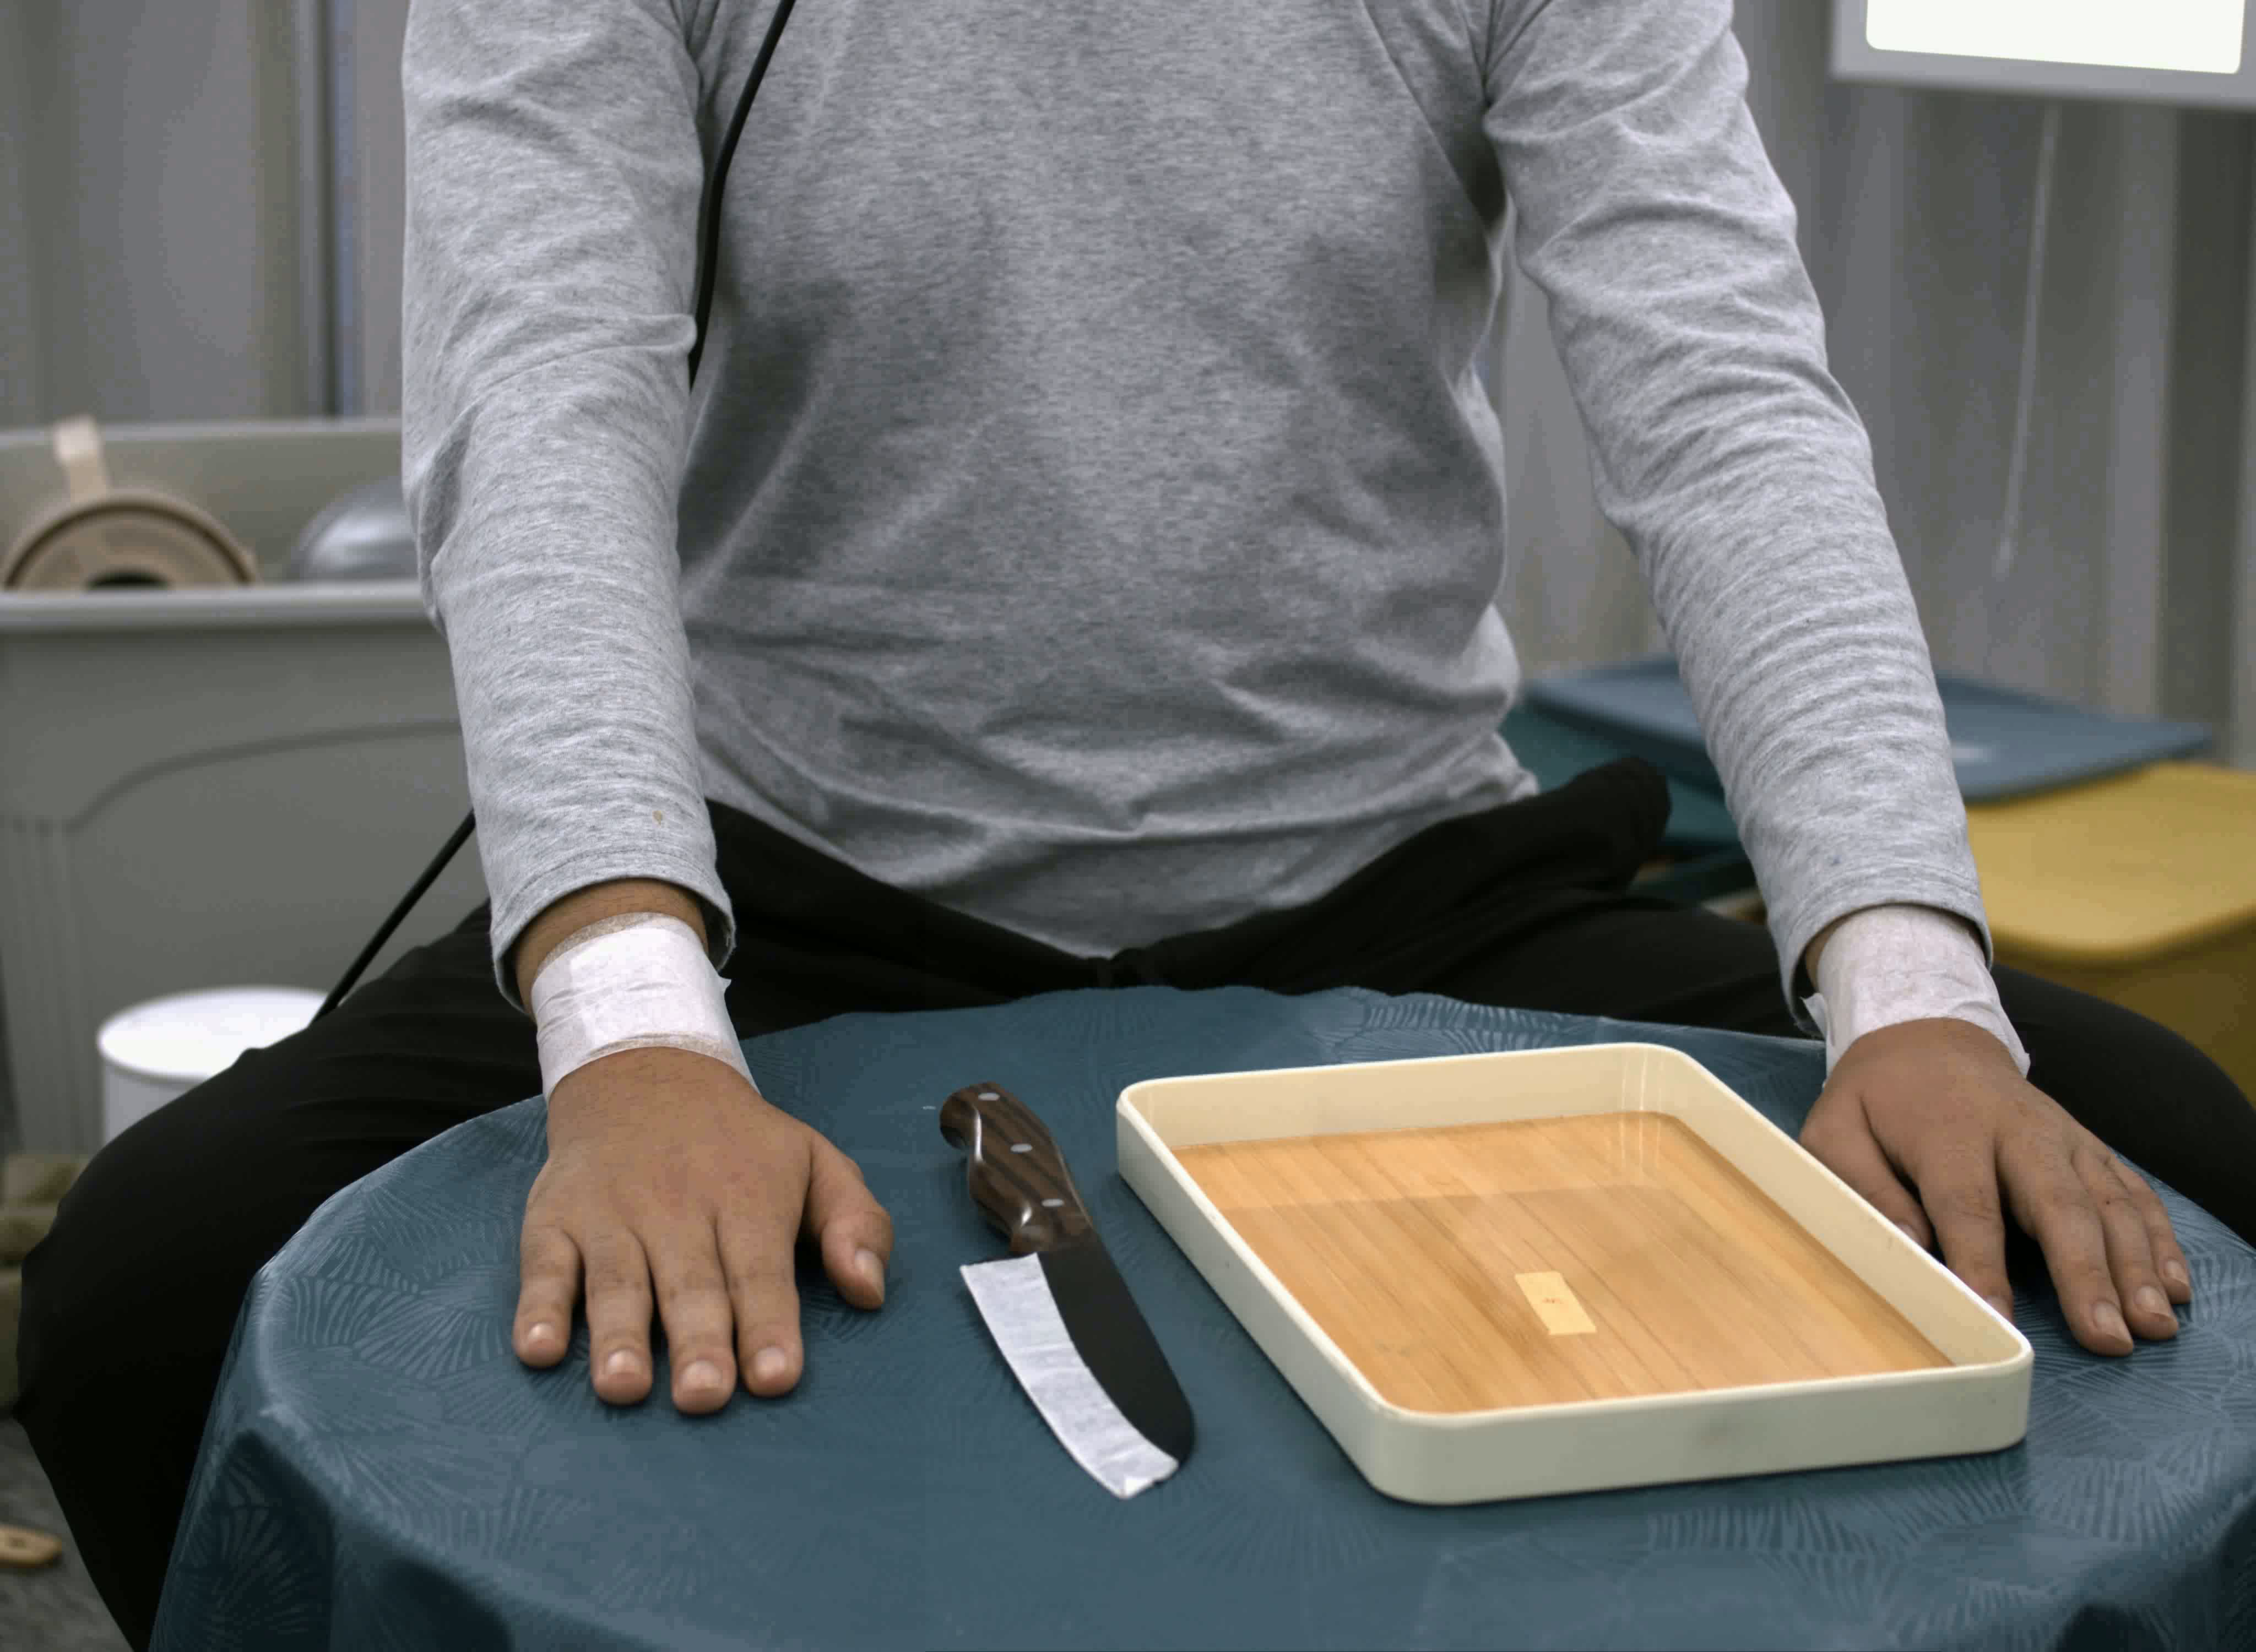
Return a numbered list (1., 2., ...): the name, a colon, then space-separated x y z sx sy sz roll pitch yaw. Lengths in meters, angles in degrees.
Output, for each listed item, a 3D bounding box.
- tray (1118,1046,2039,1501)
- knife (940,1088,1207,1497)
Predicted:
1. tray: 0.122 0.125 1.536 0.192 0.027 0.297 -3 16 -15
2. knife: -0.021 0.133 1.522 0.050 0.020 0.286 -7 19 -8
